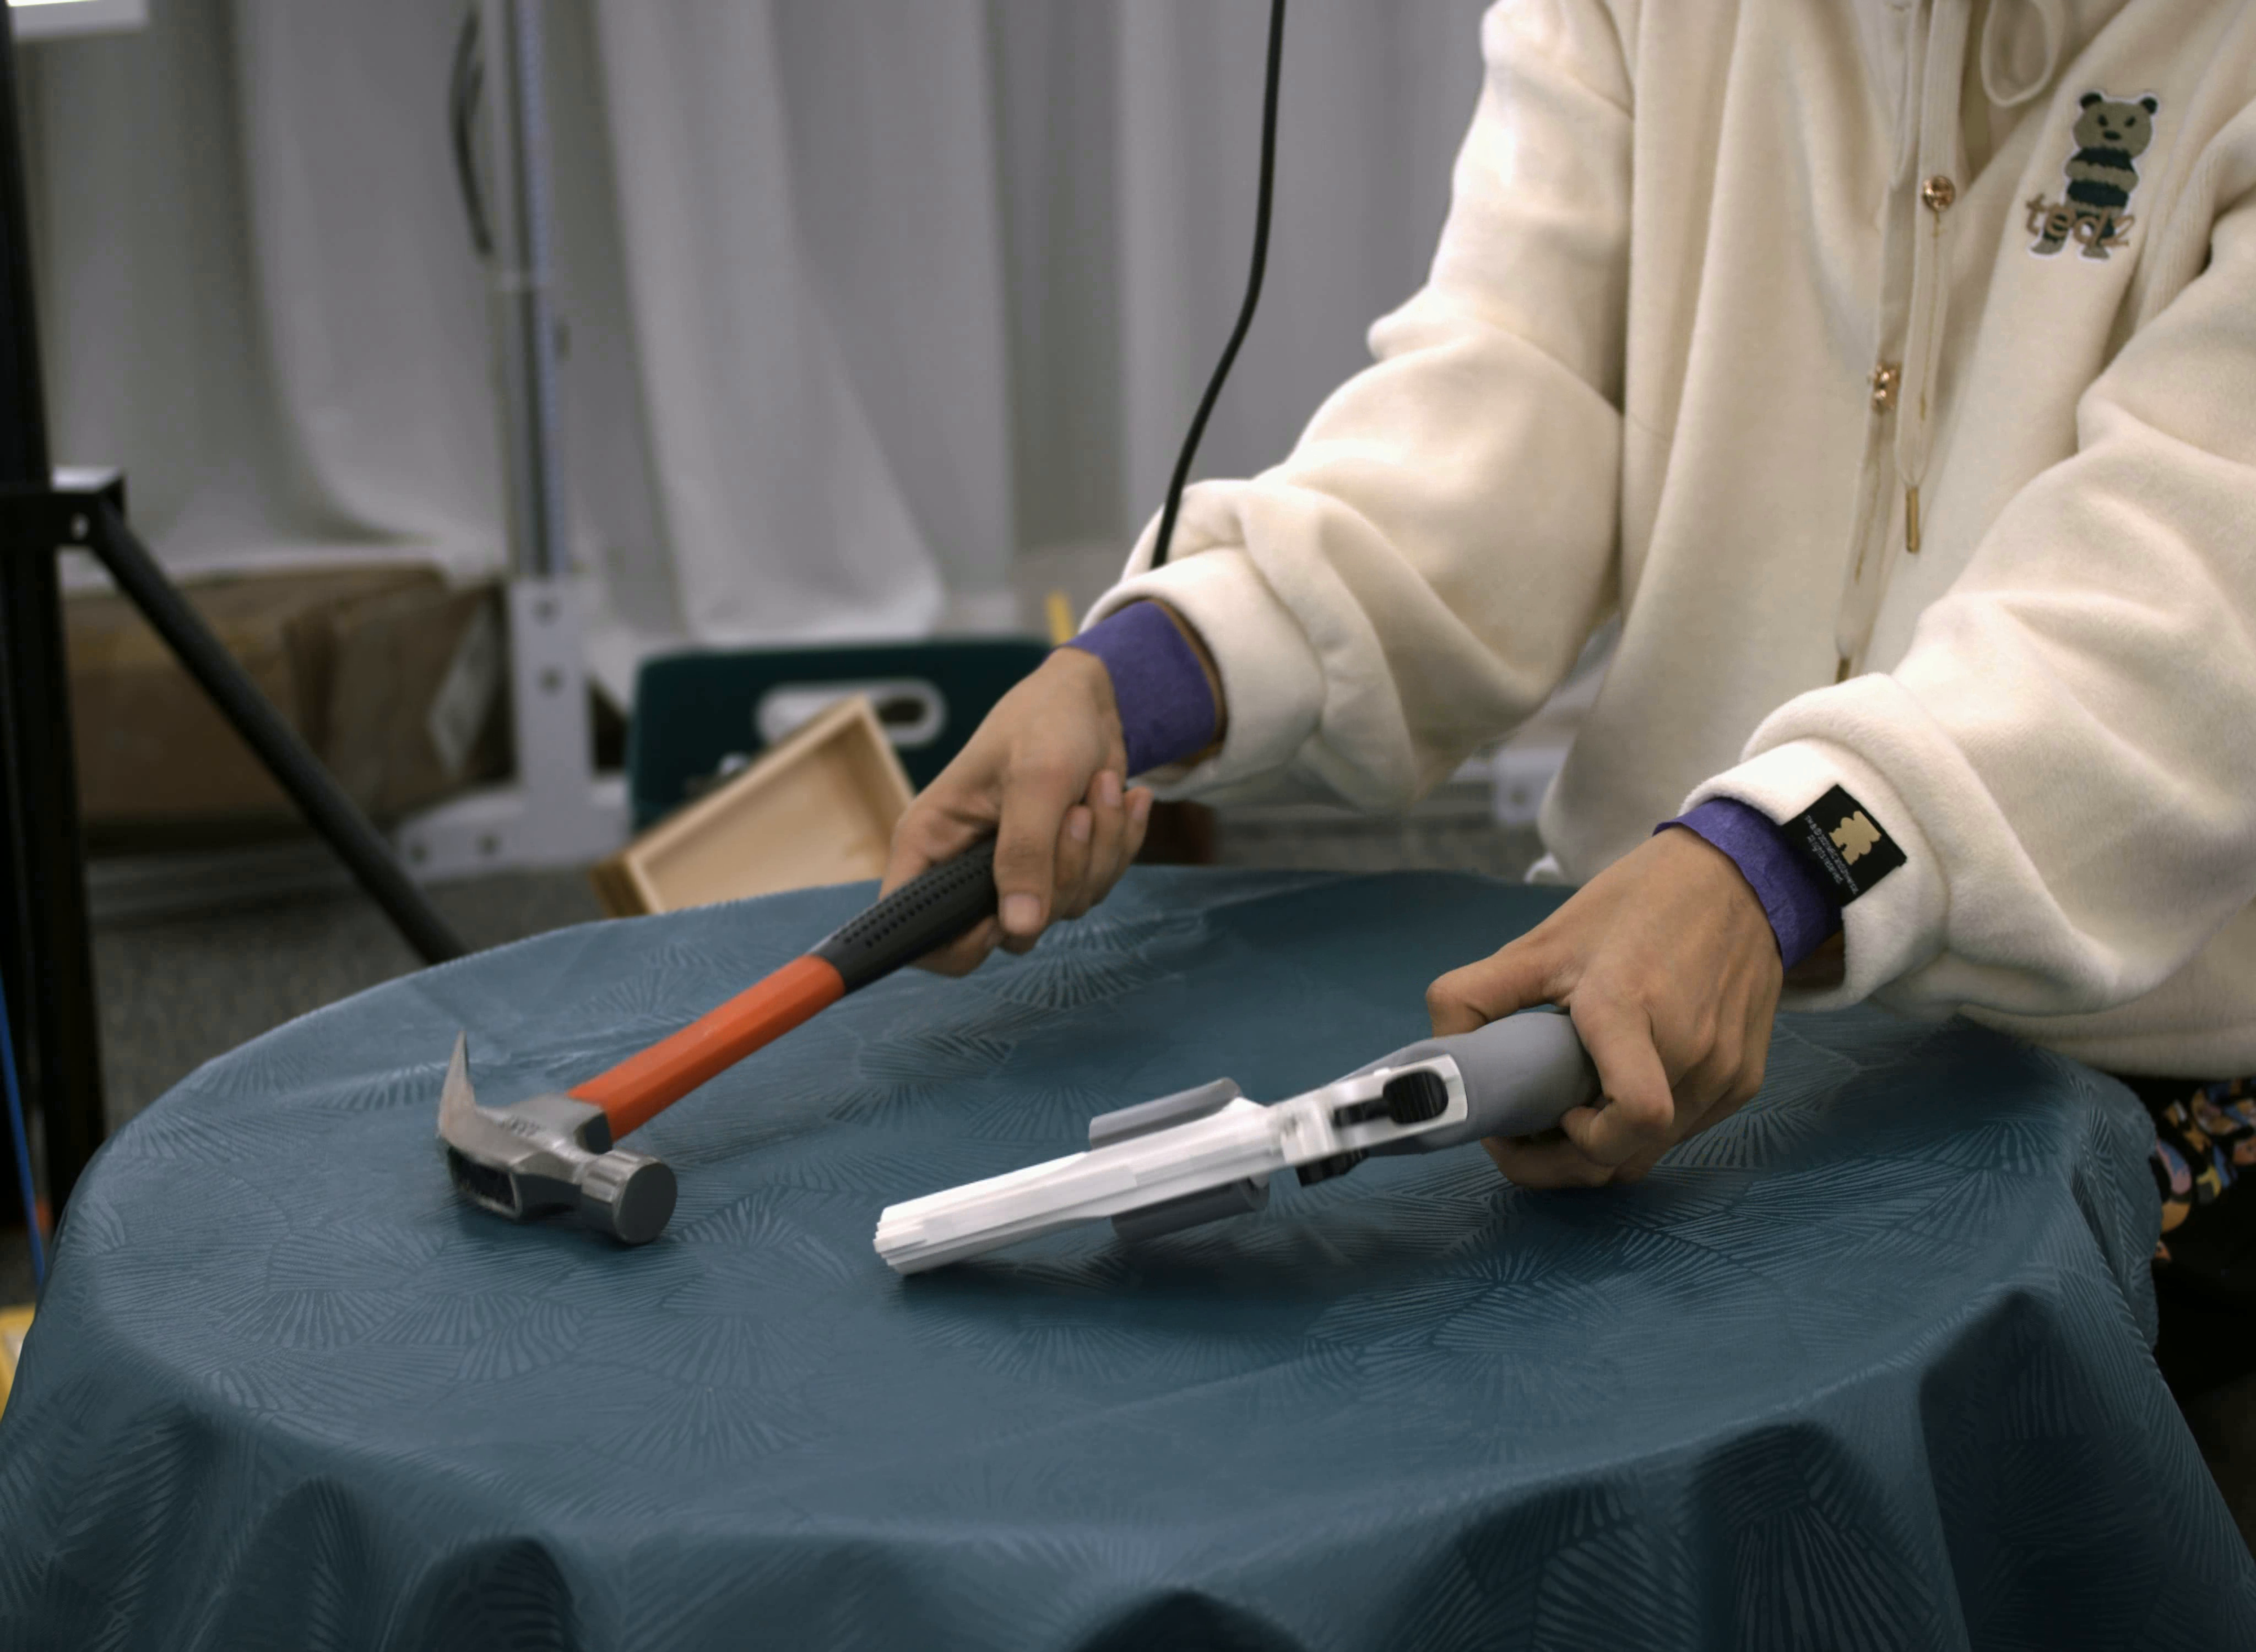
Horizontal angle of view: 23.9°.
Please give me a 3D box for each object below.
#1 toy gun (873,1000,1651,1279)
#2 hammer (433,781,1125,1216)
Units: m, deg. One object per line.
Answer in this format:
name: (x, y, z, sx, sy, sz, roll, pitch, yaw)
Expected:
toy gun: (0.040, 0.090, 1.512, 0.210, 0.039, 0.140, -16, -5, 14)
hammer: (-0.101, 0.049, 1.645, 0.113, 0.026, 0.272, 4, 26, 45)
